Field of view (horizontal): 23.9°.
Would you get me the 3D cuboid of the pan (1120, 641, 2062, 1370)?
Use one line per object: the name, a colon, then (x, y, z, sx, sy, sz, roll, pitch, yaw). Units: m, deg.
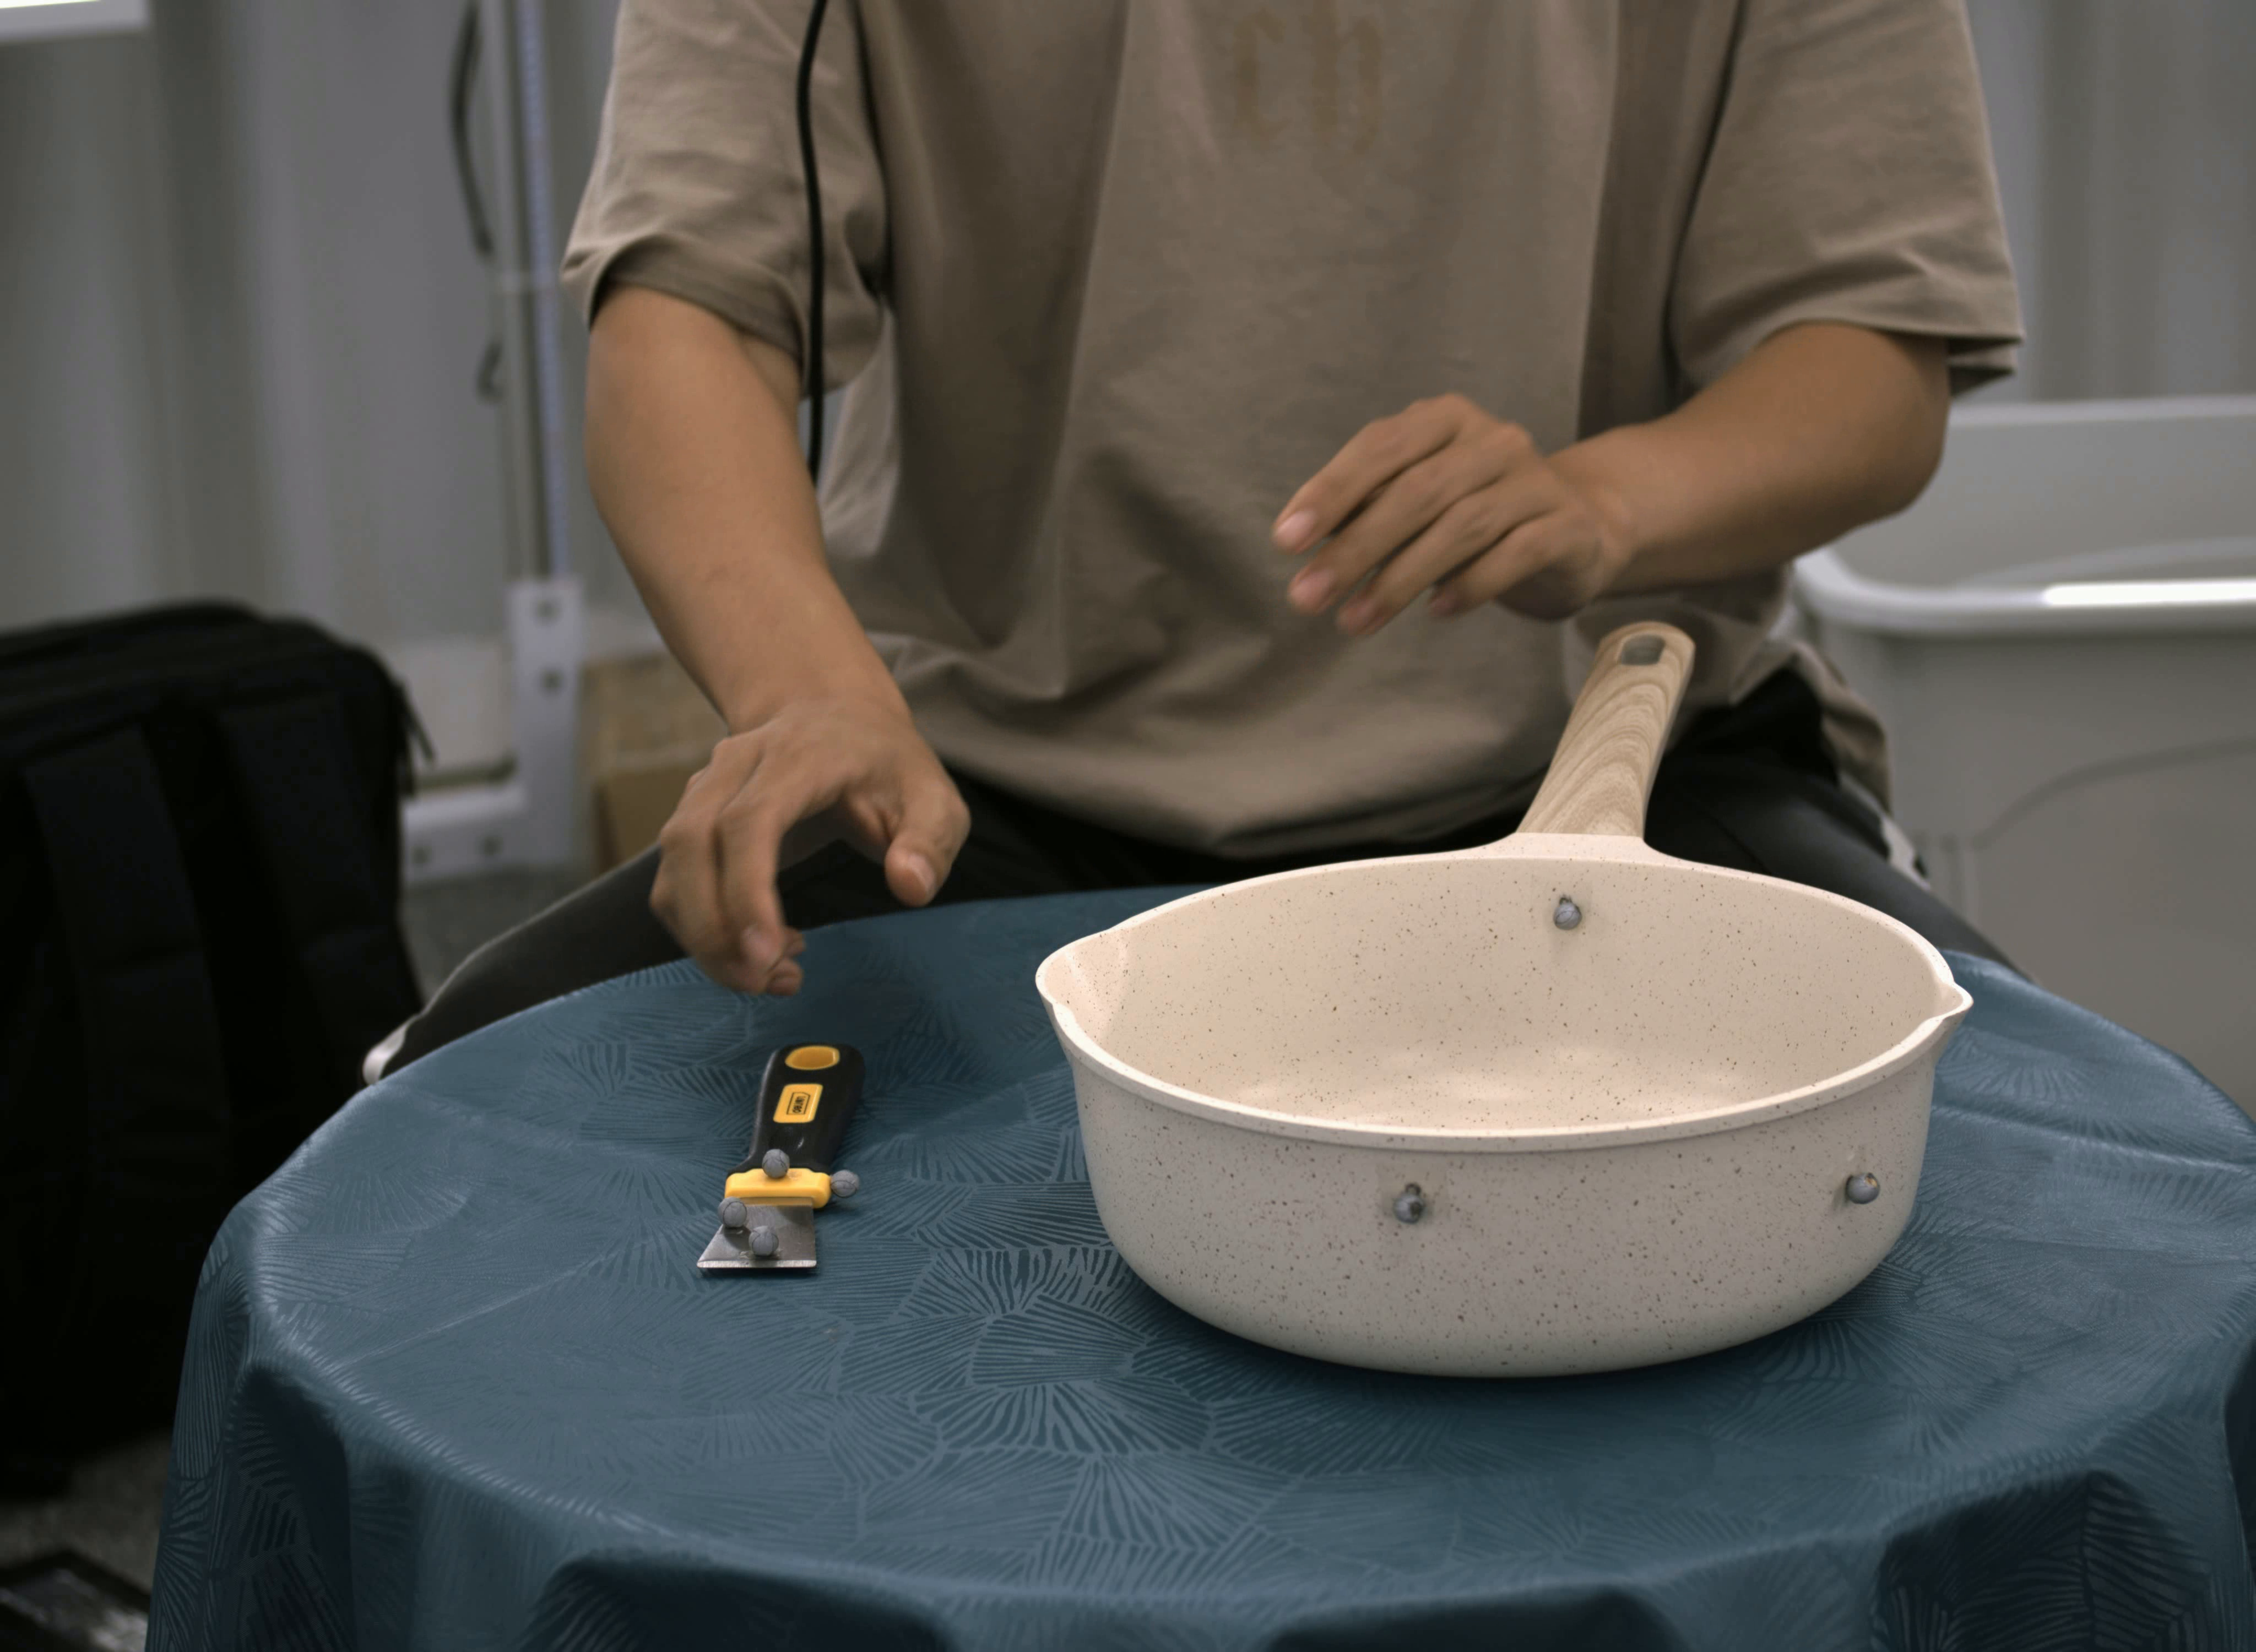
pan: (0.149, 0.048, 1.563, 0.265, 0.102, 0.432, -1, 16, 14)

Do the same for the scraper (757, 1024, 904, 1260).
scraper: (-0.085, 0.093, 1.578, 0.039, 0.015, 0.171, -9, 18, 4)
